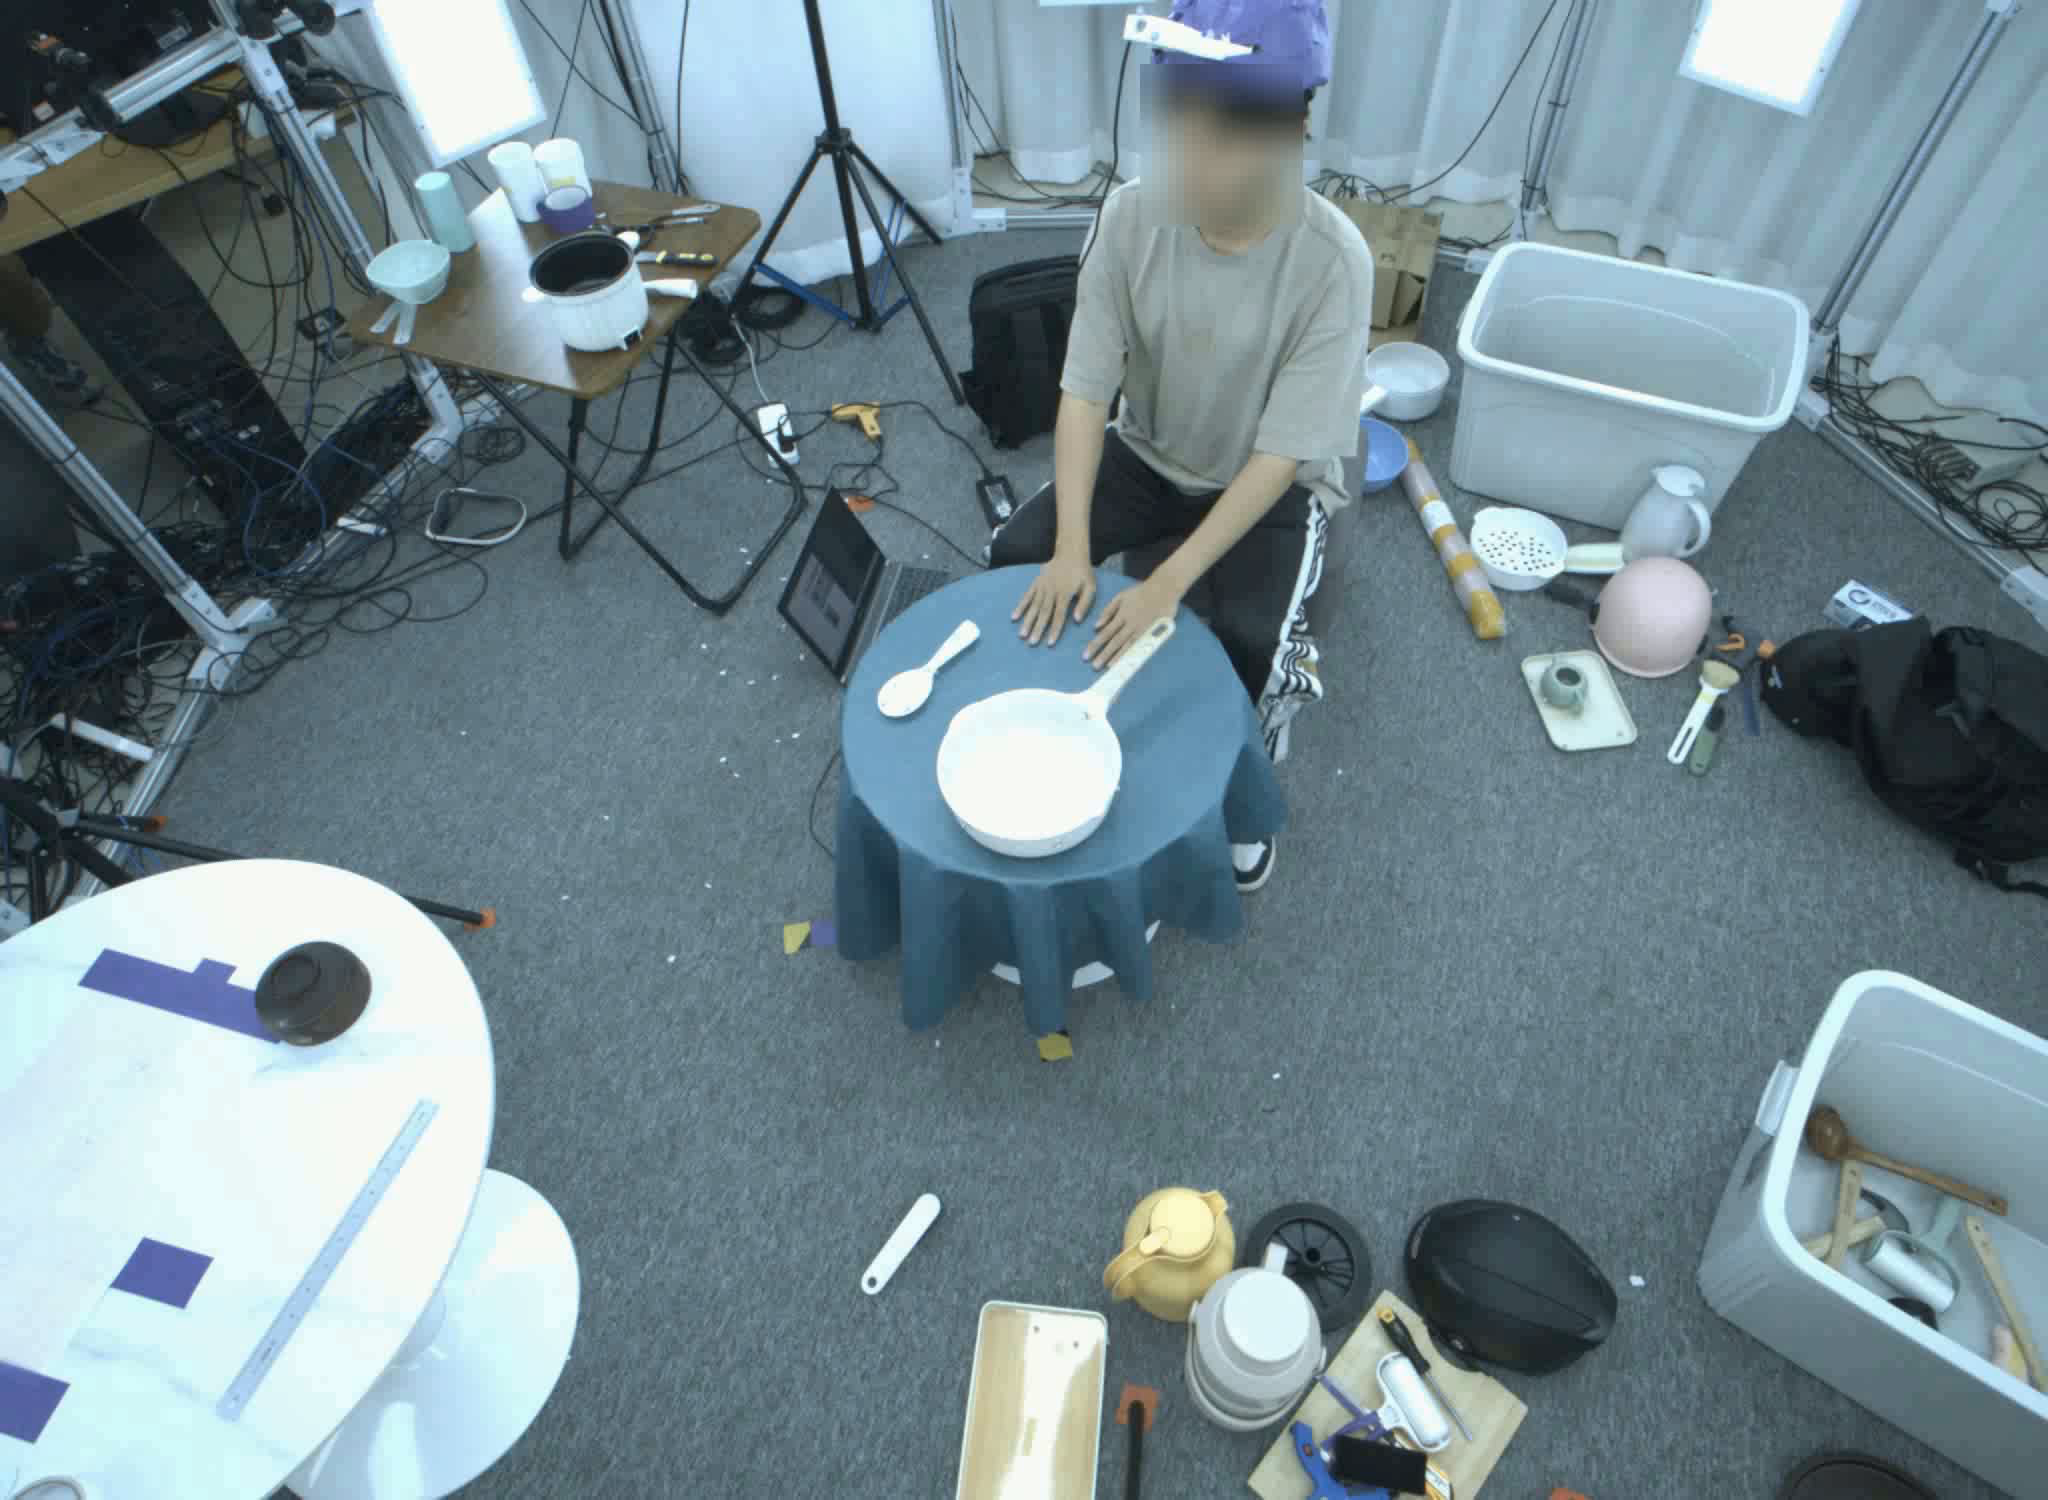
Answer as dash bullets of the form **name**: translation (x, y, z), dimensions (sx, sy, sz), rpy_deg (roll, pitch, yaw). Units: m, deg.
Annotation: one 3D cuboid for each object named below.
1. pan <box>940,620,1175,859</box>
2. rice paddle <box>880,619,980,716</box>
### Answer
- **pan**: translation (0.074, -0.020, 1.739), dimensions (0.258, 0.103, 0.437), rpy_deg (34, 62, 26)
- **rice paddle**: translation (-0.142, -0.124, 1.859), dimensions (0.067, 0.030, 0.206), rpy_deg (30, 61, 24)
